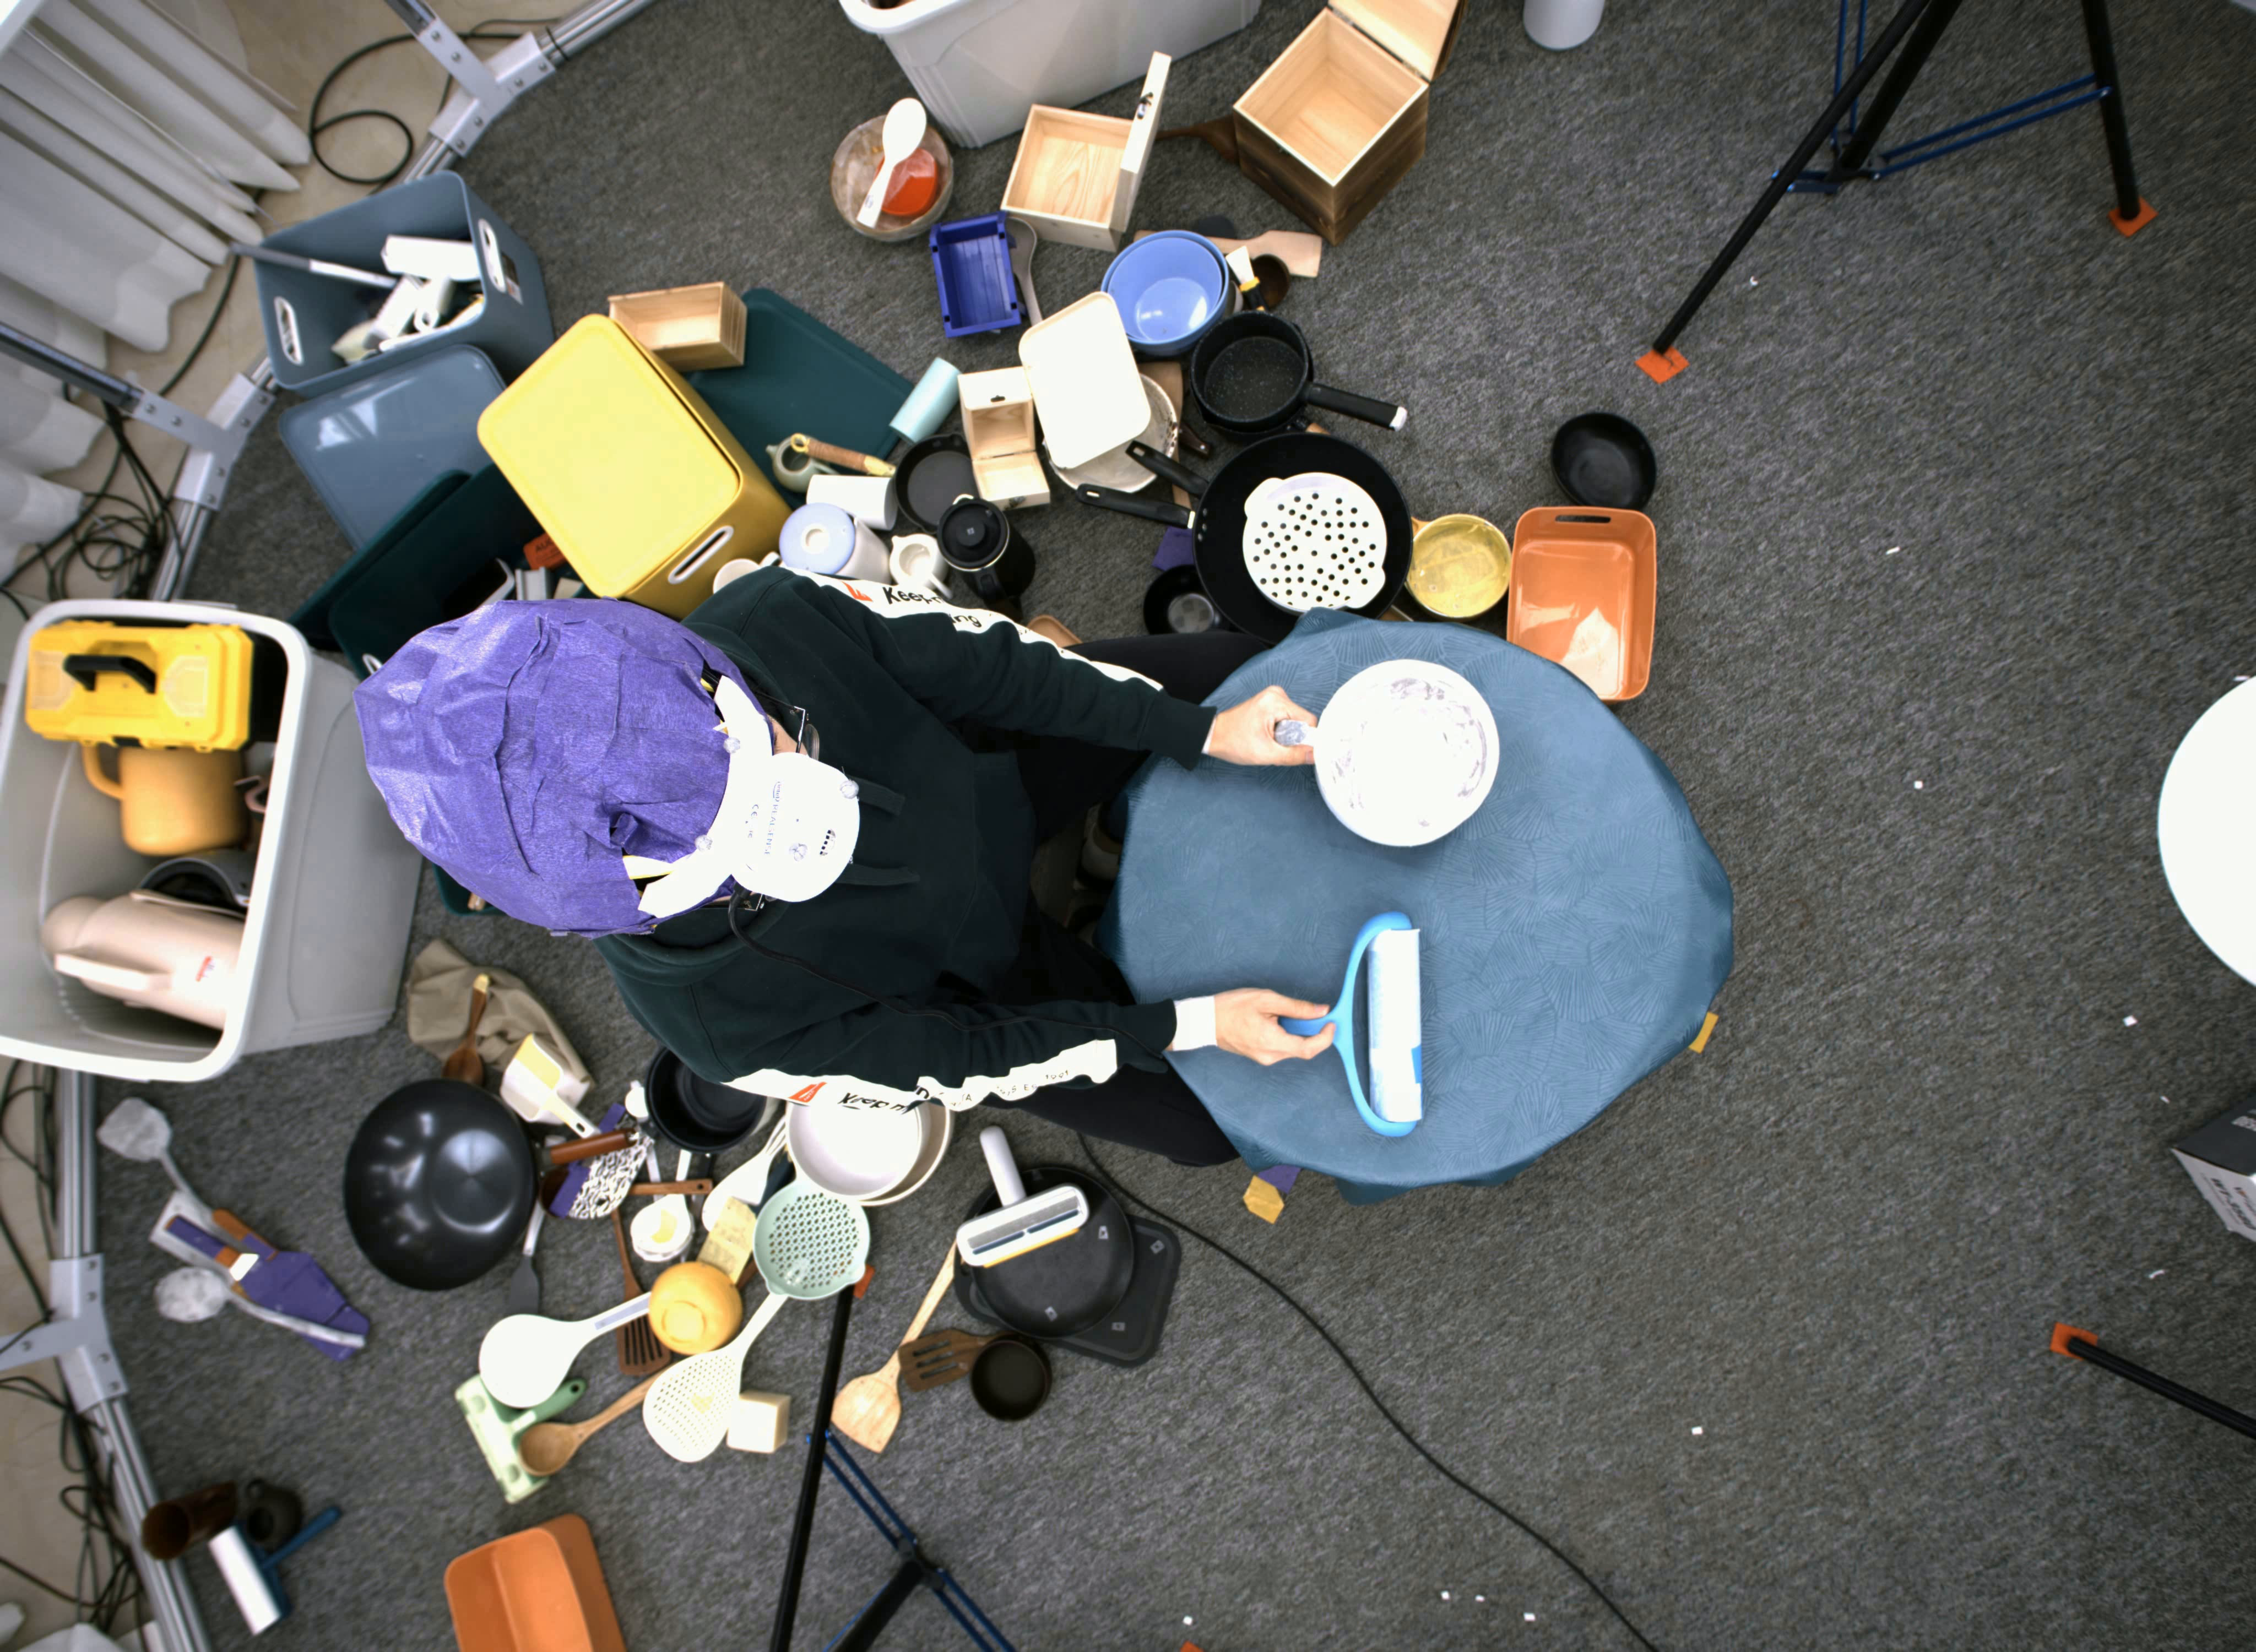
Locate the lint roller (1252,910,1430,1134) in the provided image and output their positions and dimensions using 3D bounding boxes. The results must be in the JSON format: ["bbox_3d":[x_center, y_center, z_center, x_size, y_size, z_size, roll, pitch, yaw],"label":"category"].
[{"bbox_3d":[0.217,0.205,1.421,0.181,0.067,0.229,-6,92,6],"label":"lint roller"}]

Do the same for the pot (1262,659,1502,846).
[{"bbox_3d":[0.251,-0.075,1.391,0.234,0.136,0.178,9,89,7],"label":"pot"}]
